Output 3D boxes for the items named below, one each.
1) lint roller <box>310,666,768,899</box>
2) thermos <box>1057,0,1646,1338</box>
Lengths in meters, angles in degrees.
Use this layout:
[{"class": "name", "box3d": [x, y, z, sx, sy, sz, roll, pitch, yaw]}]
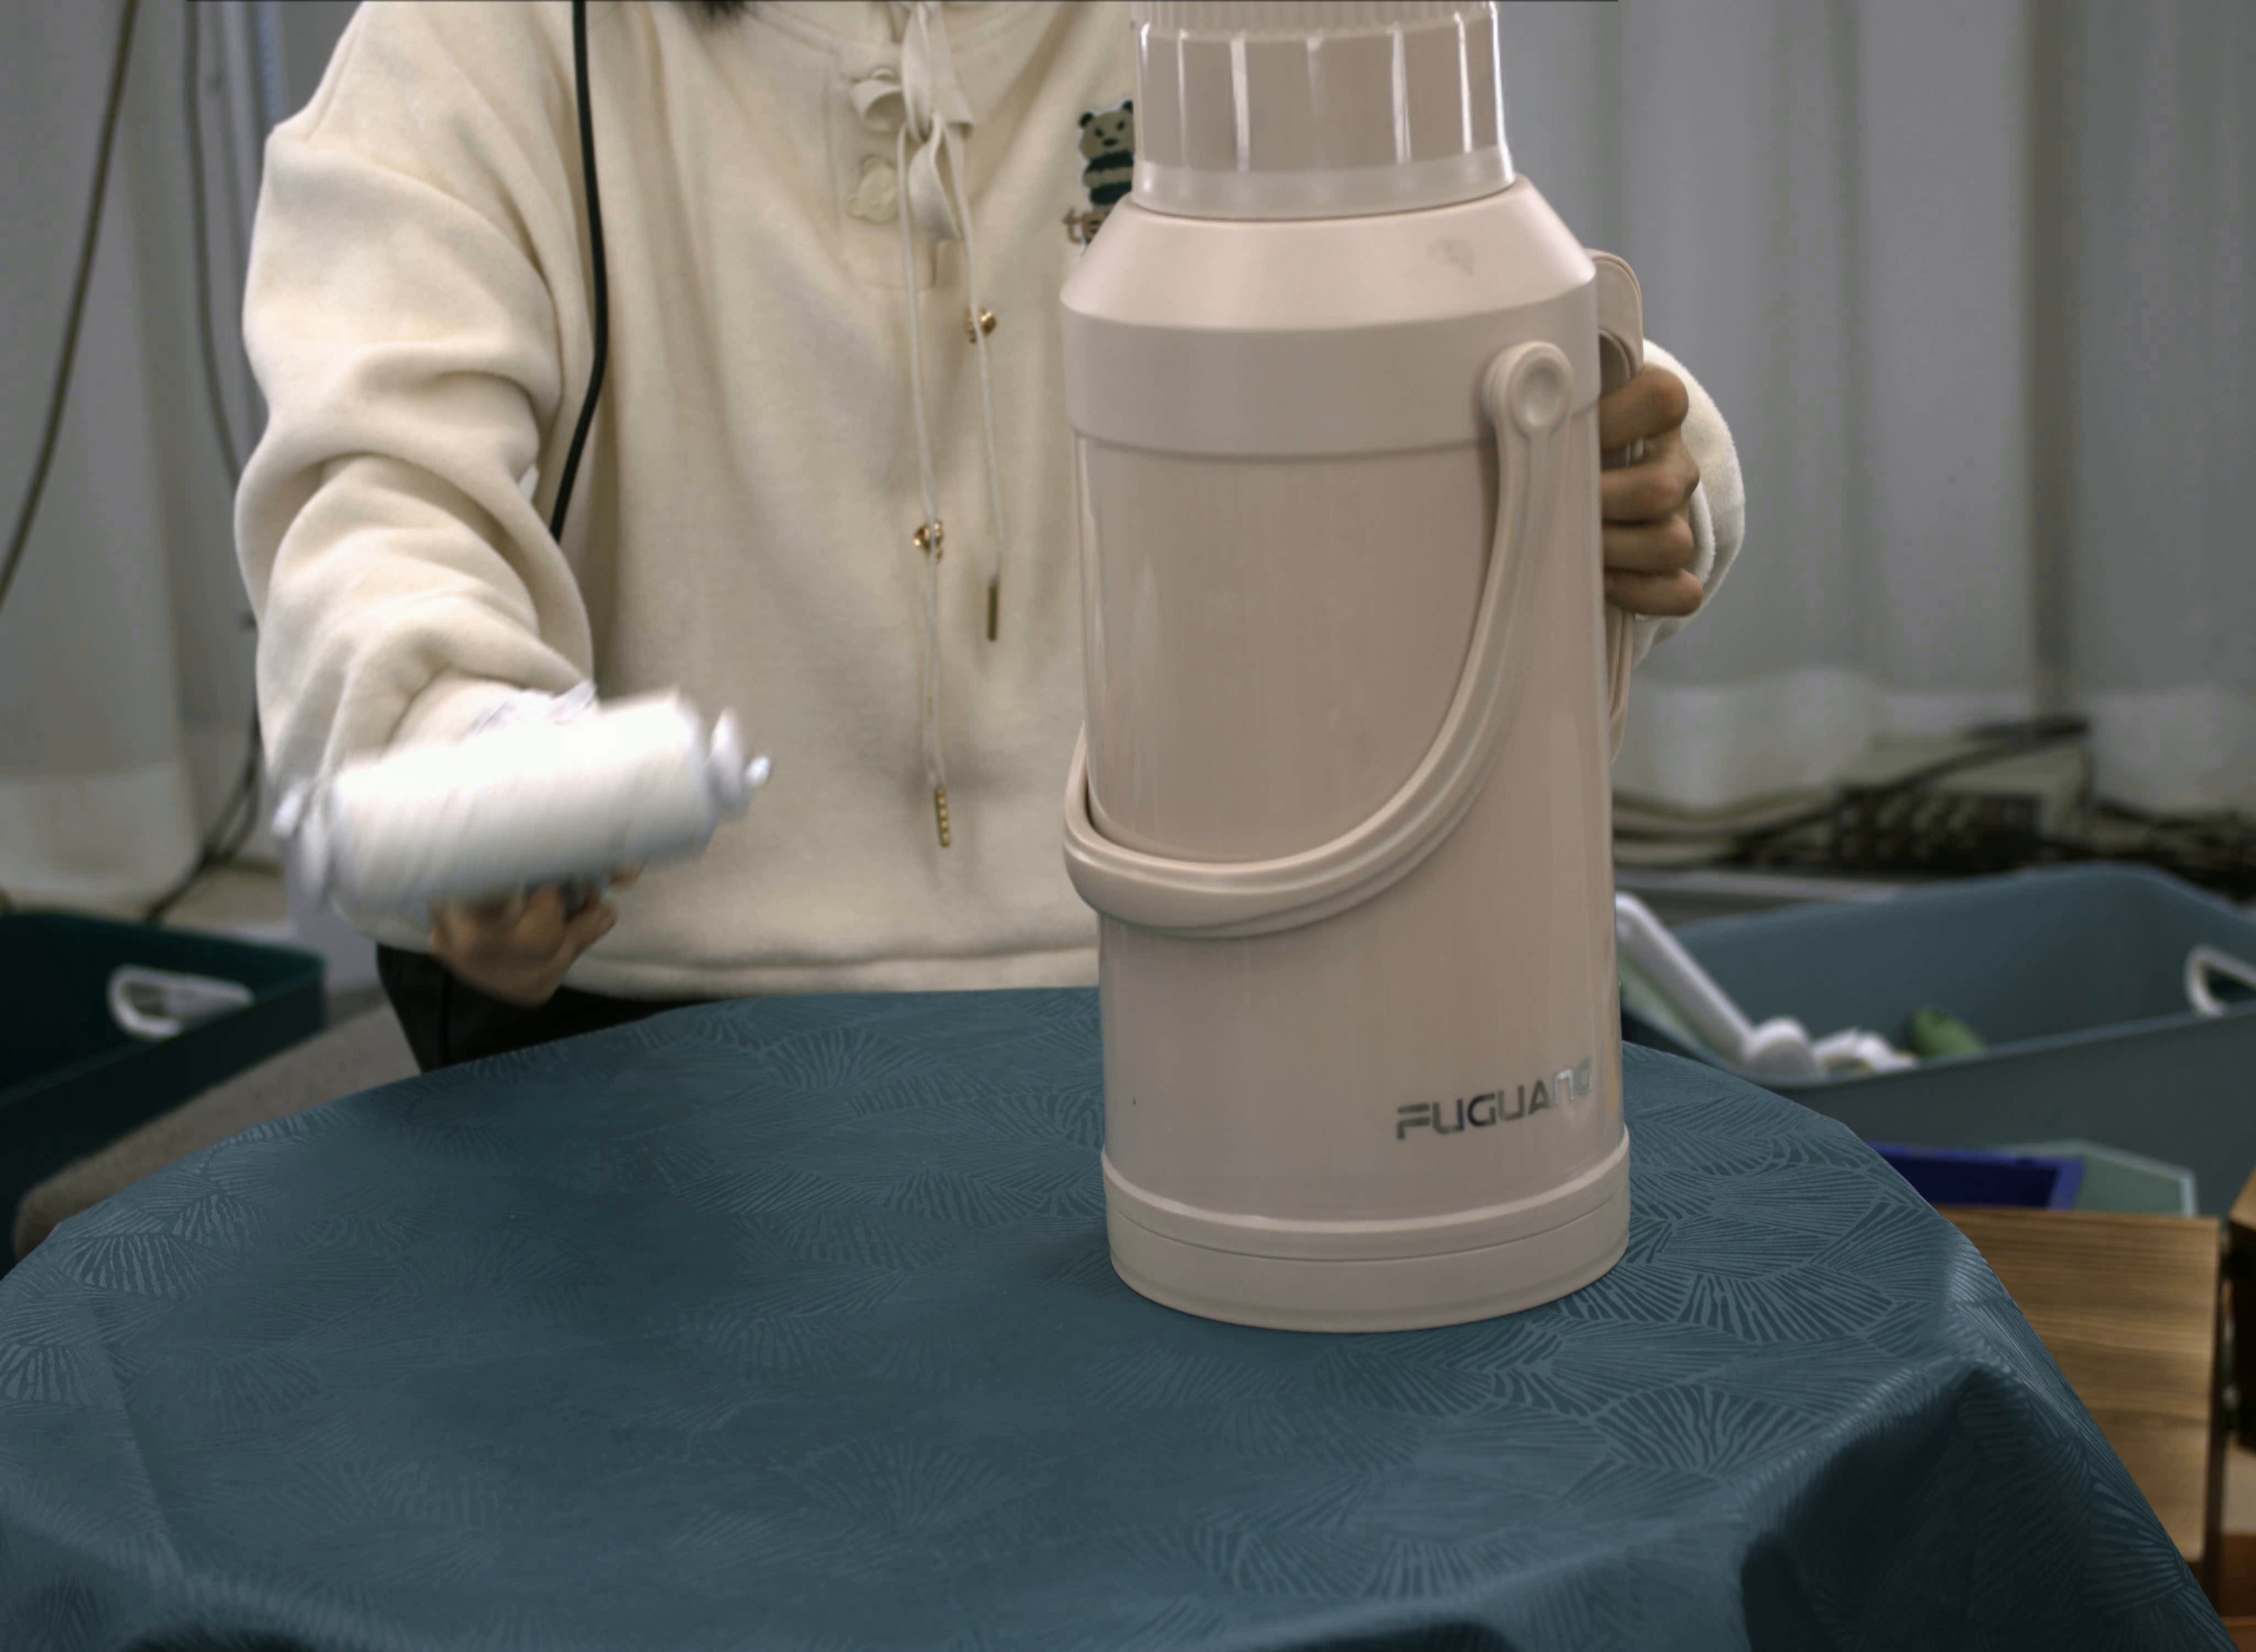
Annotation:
[{"class": "lint roller", "box3d": [-0.174, -0.009, 1.654, 0.132, 0.050, 0.180, -12, -4, -4]}, {"class": "thermos", "box3d": [0.074, -0.067, 1.616, 0.206, 0.405, 0.176, -13, 17, -38]}]
